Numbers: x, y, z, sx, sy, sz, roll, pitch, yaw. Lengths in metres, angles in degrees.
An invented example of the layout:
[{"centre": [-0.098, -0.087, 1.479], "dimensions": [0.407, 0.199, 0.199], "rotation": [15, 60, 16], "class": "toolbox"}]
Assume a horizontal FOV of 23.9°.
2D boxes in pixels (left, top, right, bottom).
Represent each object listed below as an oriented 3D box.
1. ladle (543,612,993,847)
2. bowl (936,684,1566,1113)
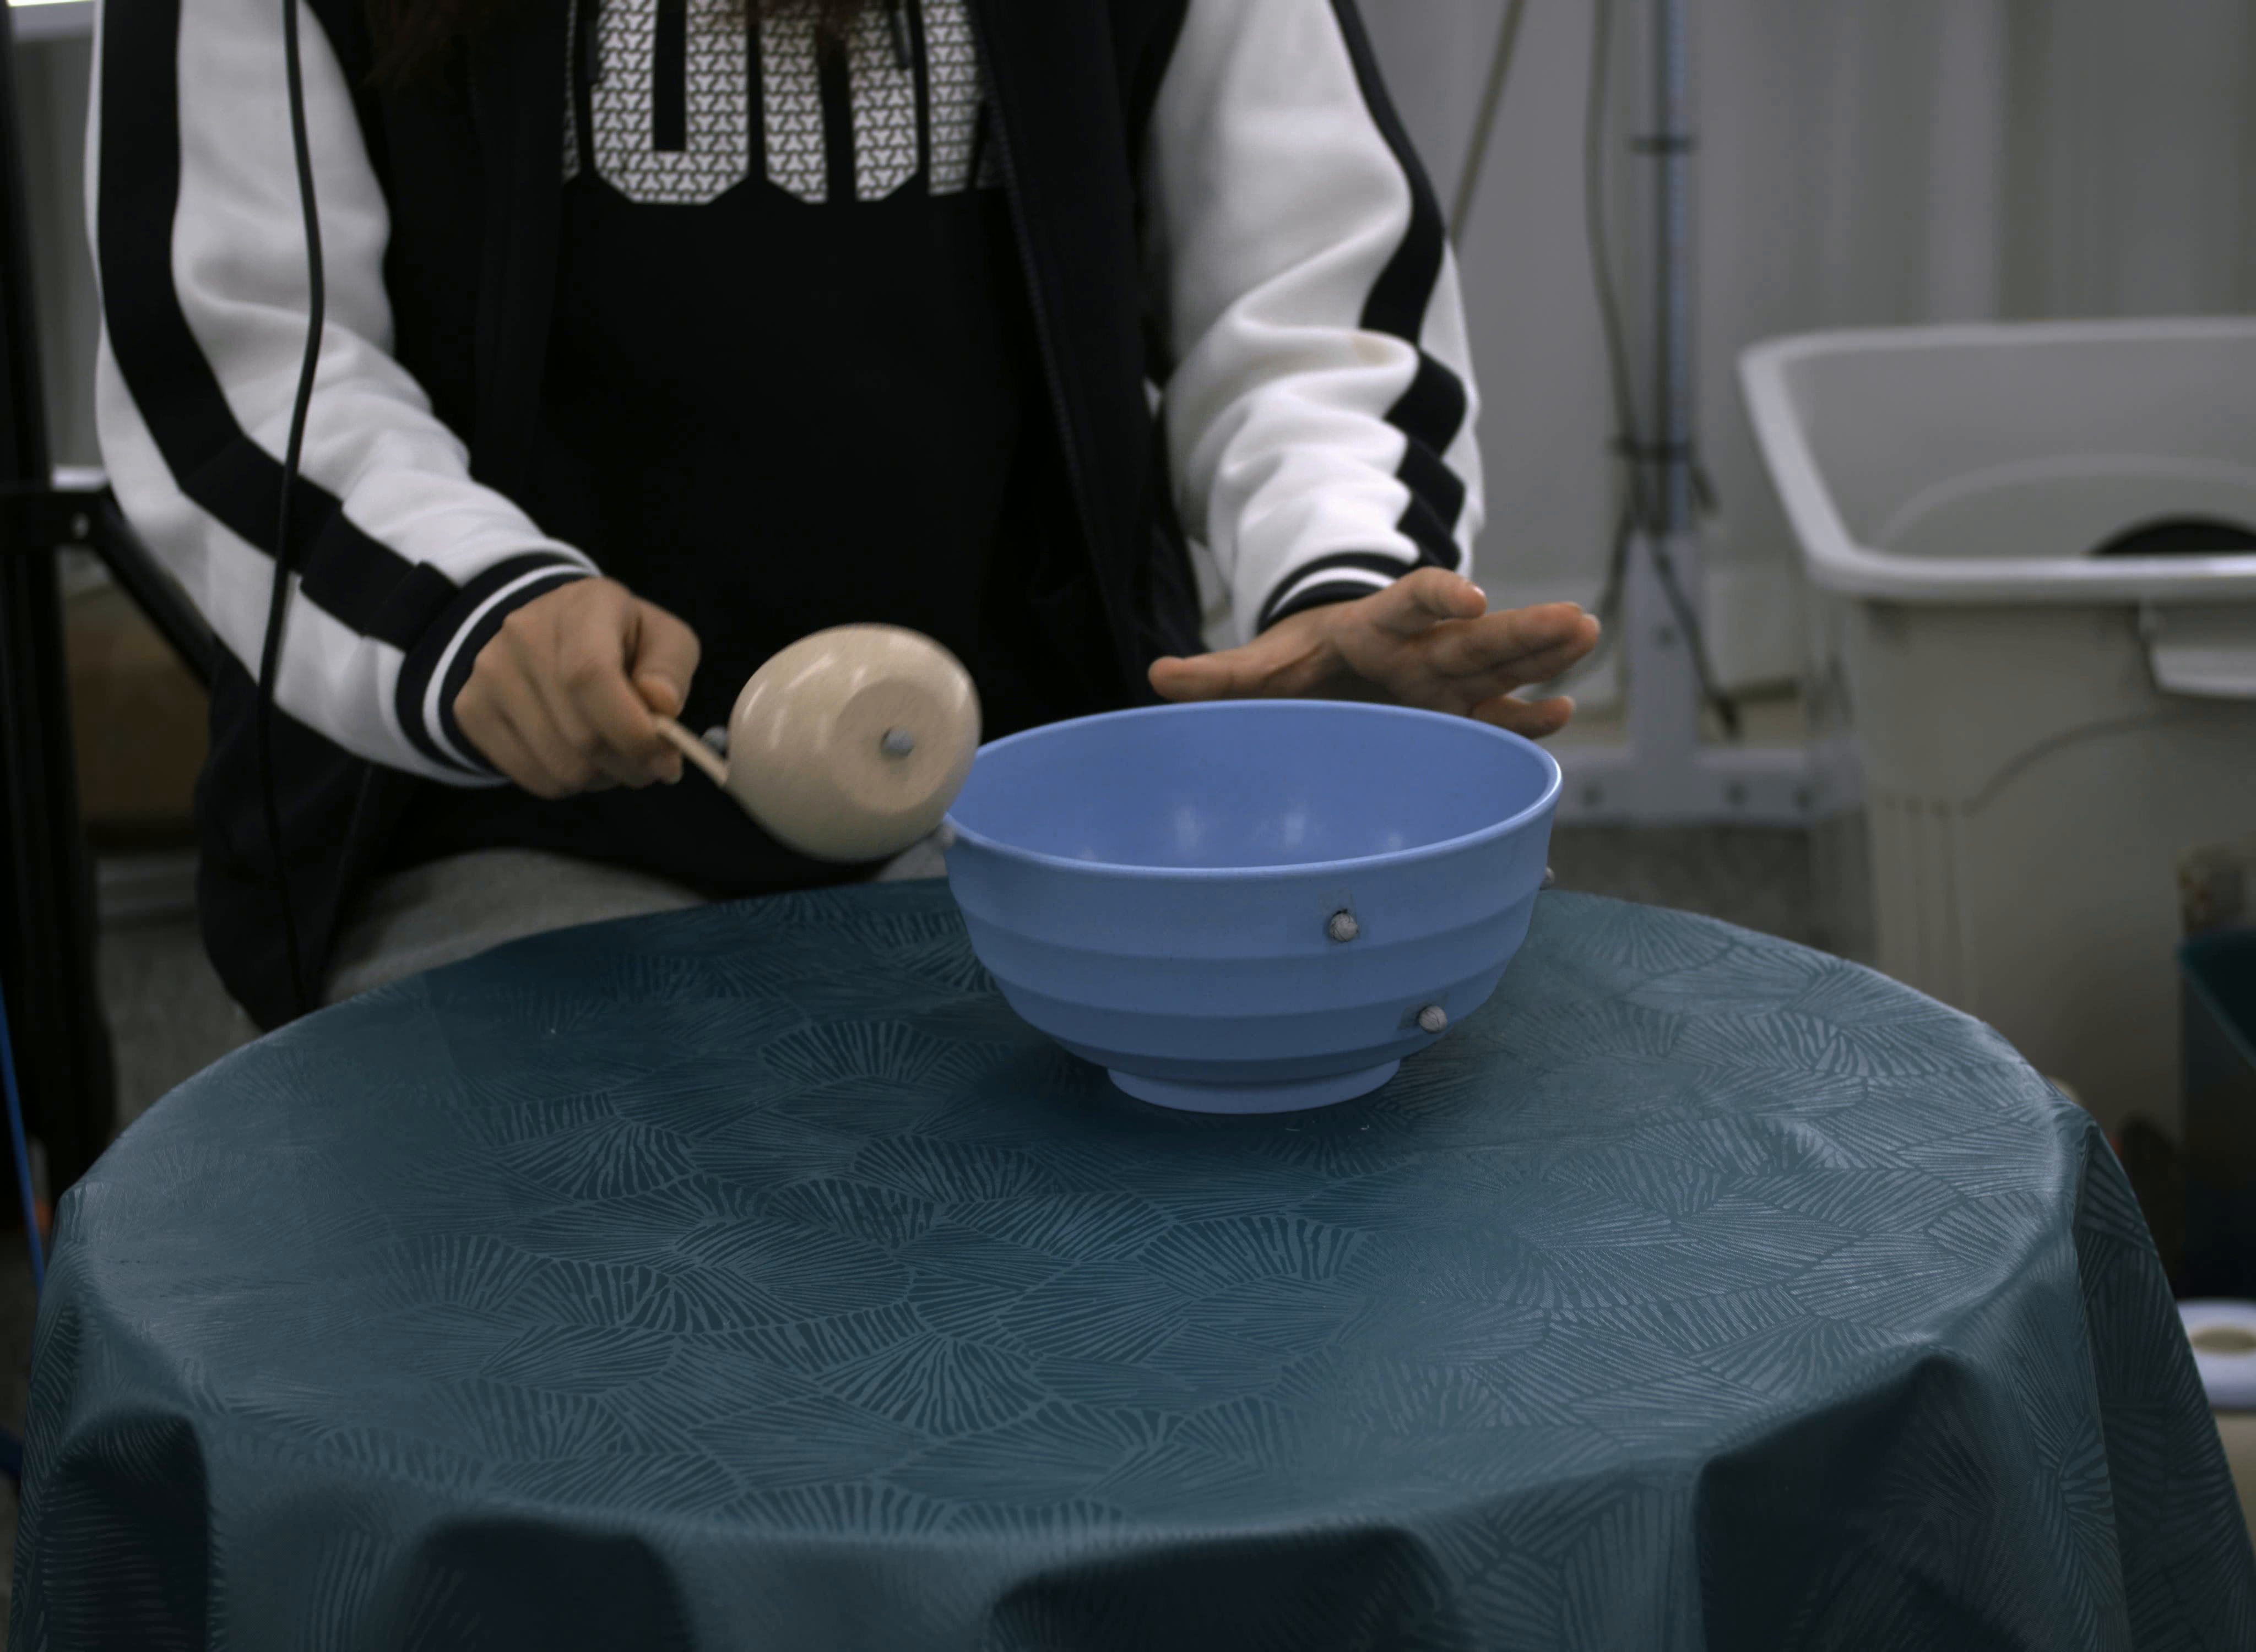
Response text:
[{"centre": [-0.116, -0.048, 1.665], "dimensions": [0.072, 0.071, 0.259], "rotation": [-48, 25, -8], "class": "ladle"}, {"centre": [0.037, 0.029, 1.652], "dimensions": [0.195, 0.095, 0.197], "rotation": [-1, 18, -1], "class": "bowl"}]
